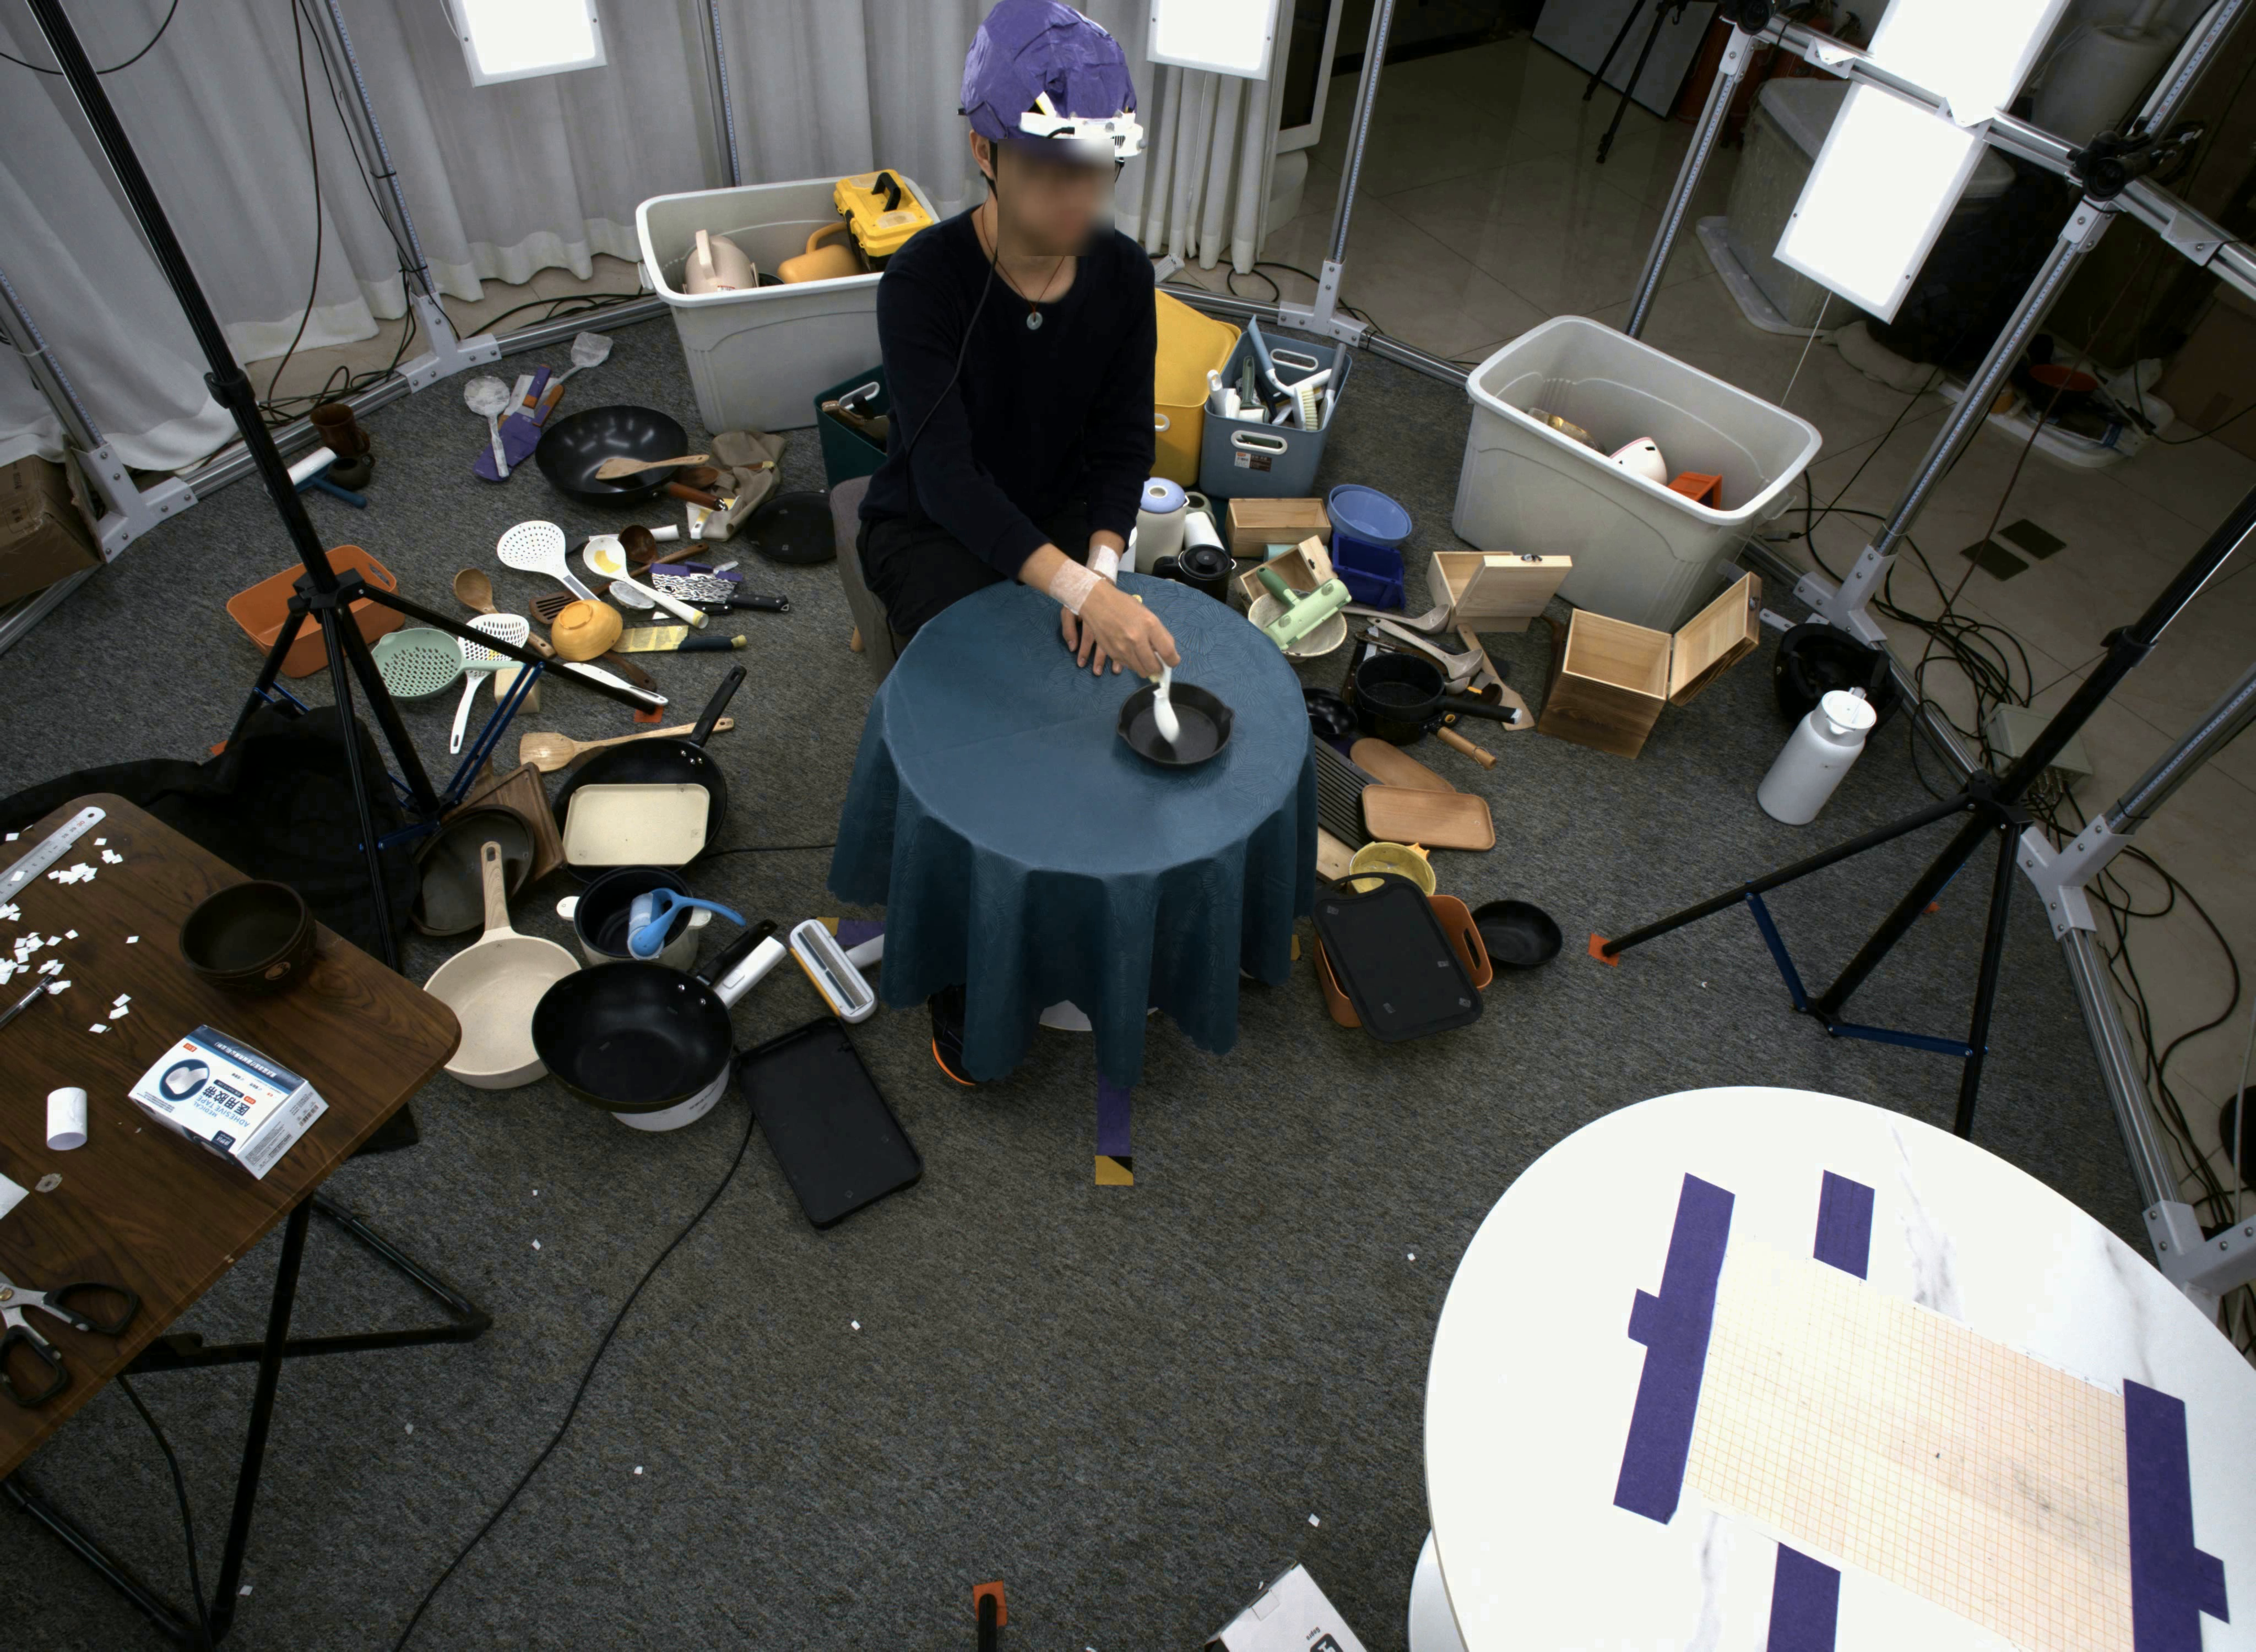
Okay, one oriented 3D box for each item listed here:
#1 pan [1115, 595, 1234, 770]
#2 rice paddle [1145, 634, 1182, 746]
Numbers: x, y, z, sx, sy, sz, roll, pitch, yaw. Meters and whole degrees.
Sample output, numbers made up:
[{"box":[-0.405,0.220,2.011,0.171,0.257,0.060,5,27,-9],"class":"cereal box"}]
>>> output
[{"box":[0.045,-0.205,1.817,0.169,0.048,0.332,-8,51,-11],"class":"pan"},{"box":[0.049,-0.176,1.688,0.029,0.200,0.070,-28,57,-10],"class":"rice paddle"}]
